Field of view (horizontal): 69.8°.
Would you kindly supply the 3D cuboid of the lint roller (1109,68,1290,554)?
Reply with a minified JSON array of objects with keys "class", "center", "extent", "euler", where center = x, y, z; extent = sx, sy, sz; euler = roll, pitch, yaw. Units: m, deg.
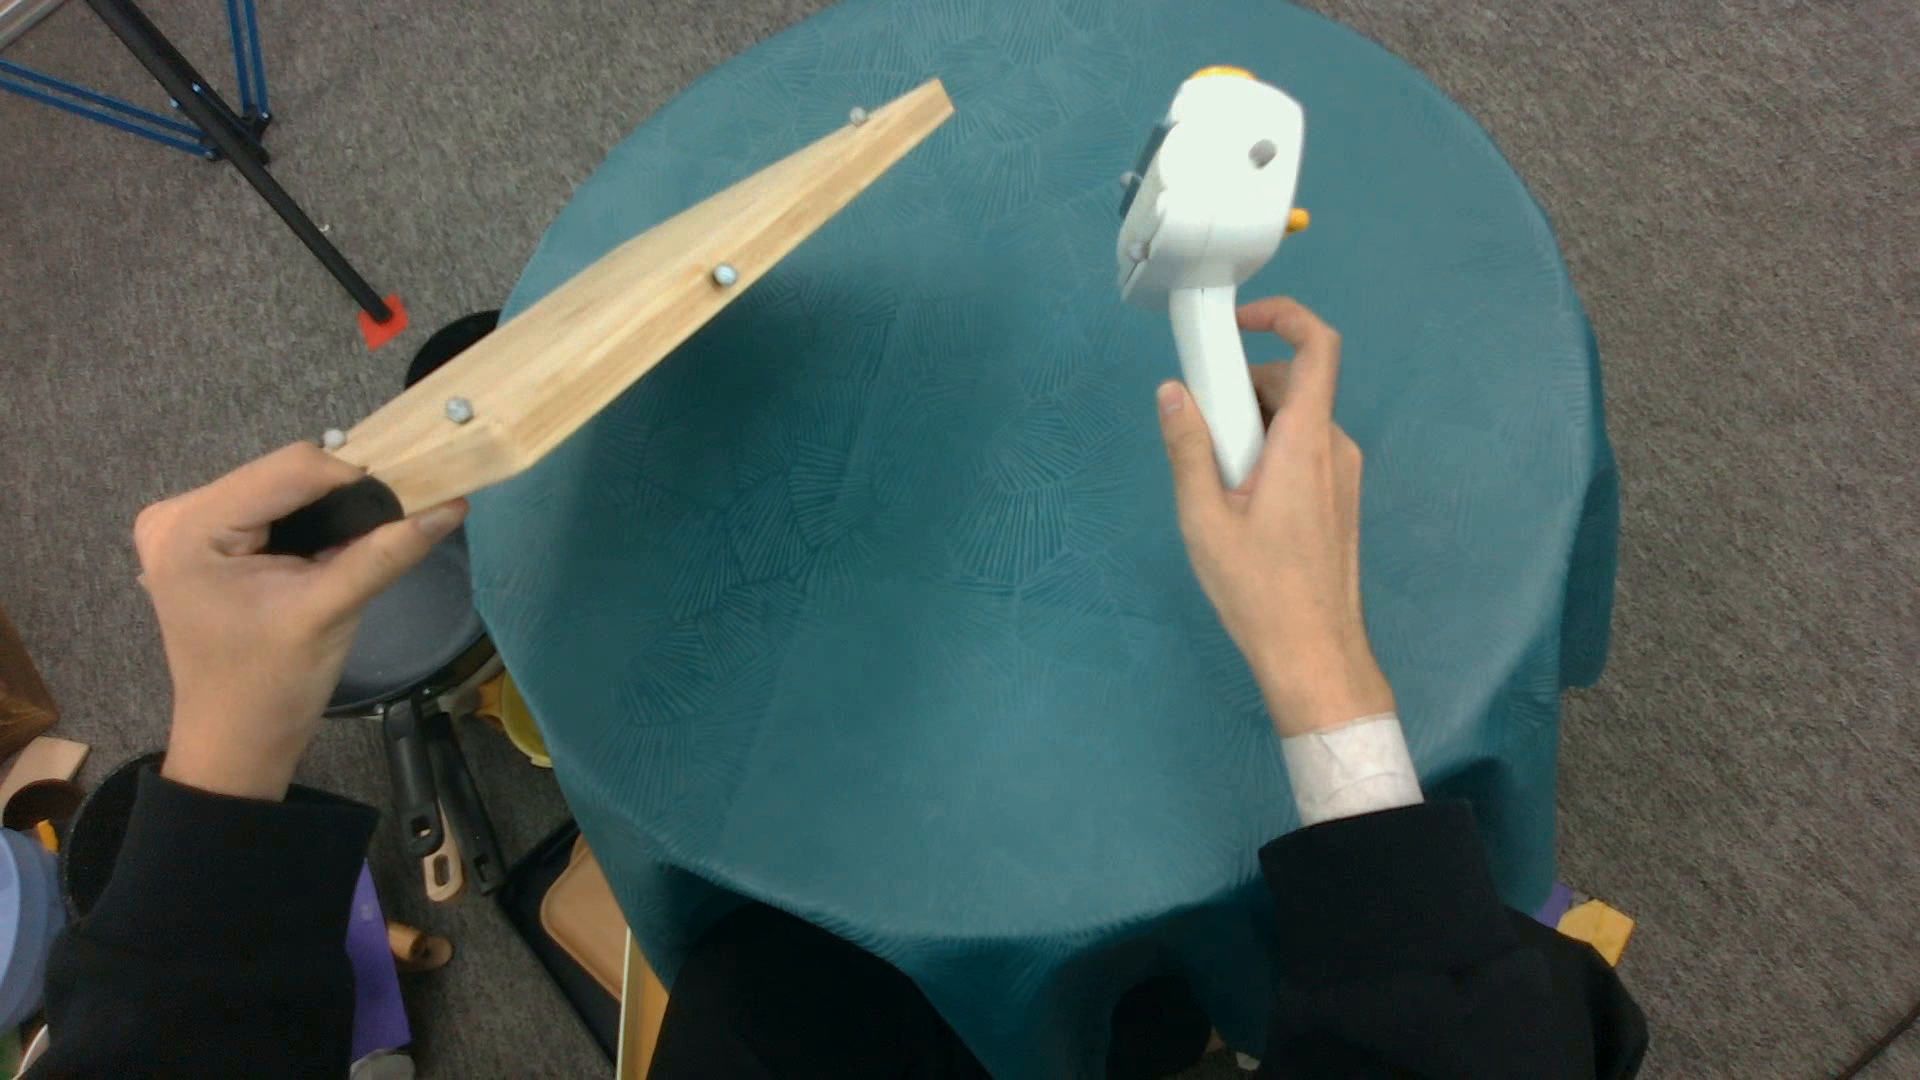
[{"class":"lint roller","center":[0.096,-0.088,0.575],"extent":[0.074,0.193,0.192],"euler":[-1,101,1]}]

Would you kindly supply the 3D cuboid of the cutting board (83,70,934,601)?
[{"class":"cutting board","center":[-0.176,-0.101,0.602],"extent":[0.250,0.023,0.350],"euler":[-14,27,33]}]
